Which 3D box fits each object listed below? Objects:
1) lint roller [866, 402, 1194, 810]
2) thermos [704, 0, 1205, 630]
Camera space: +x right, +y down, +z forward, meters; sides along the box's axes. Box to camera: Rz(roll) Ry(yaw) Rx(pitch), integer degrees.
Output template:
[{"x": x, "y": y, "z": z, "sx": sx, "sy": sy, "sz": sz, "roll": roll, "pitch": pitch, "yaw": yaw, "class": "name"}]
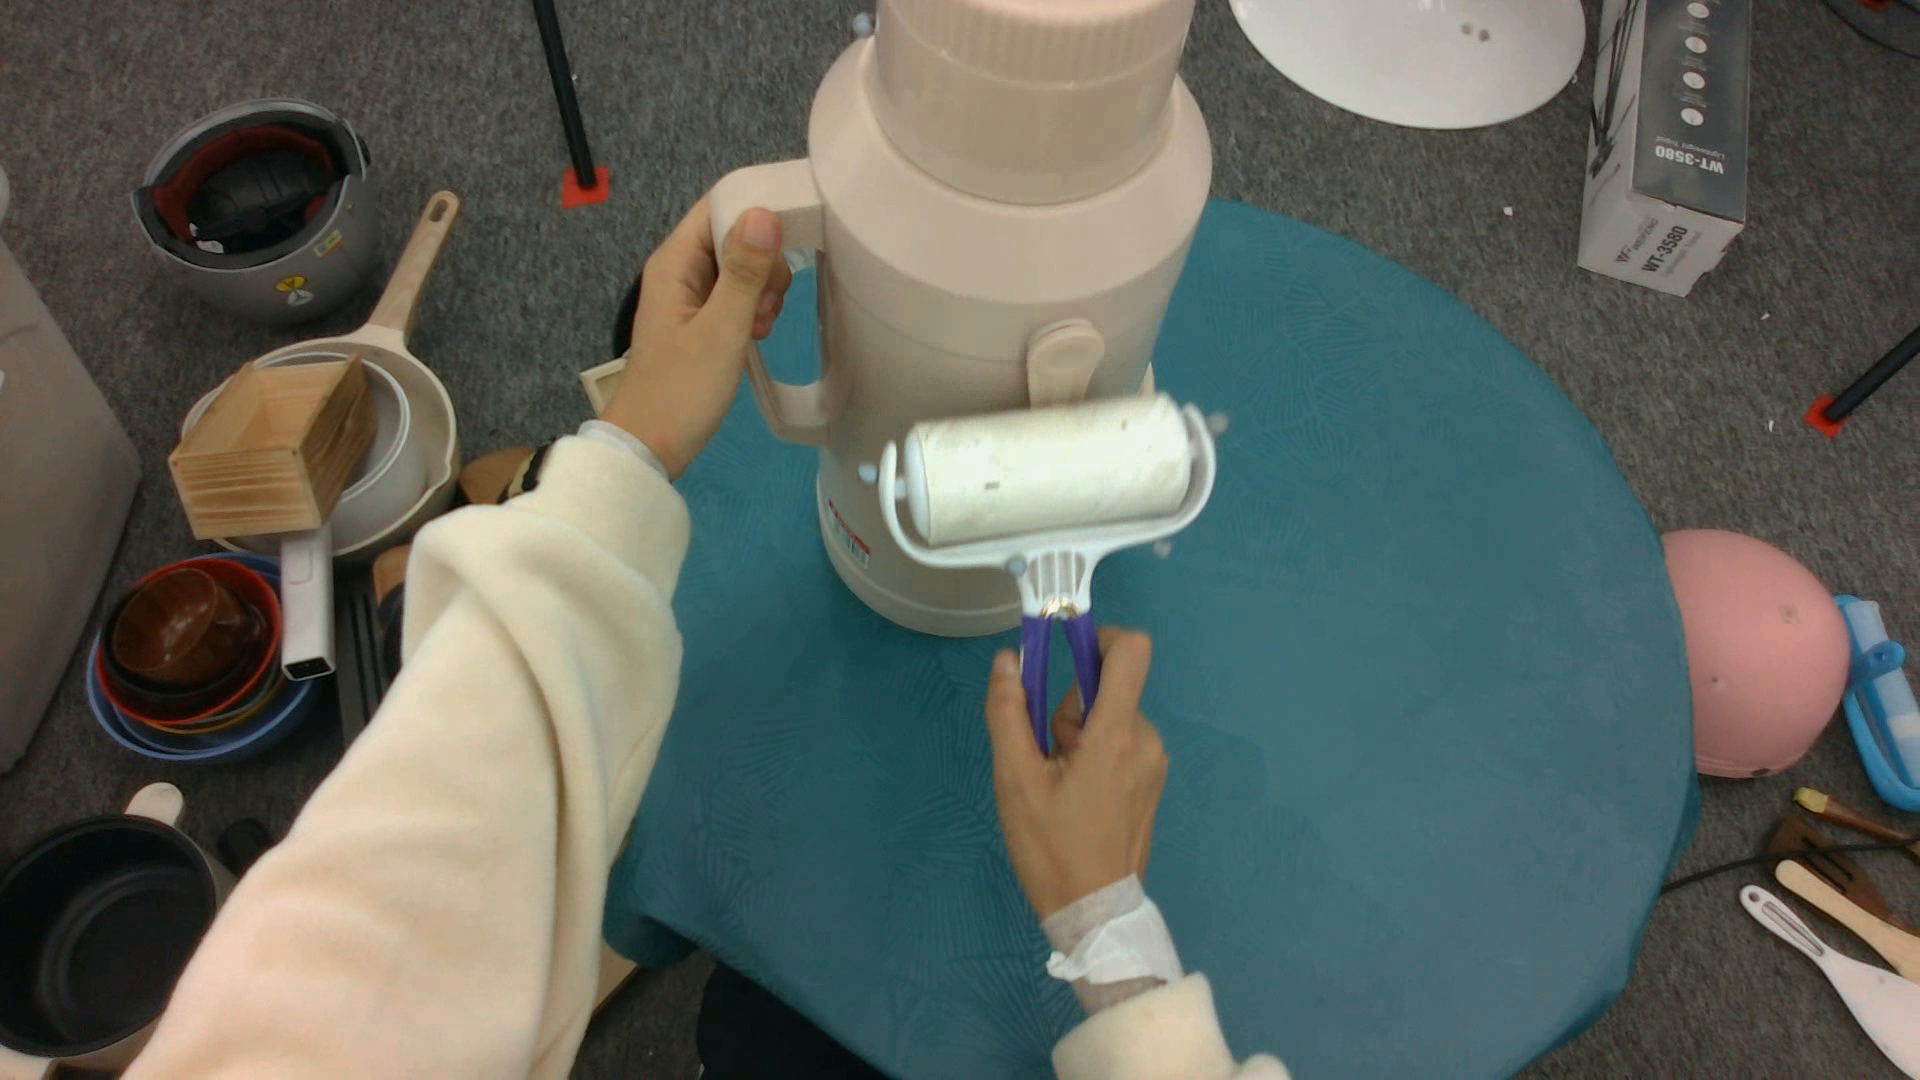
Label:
[{"x": 0.032, "y": 0.037, "z": 0.568, "sx": 0.133, "sy": 0.050, "sz": 0.180, "roll": -7, "pitch": 105, "yaw": -15, "class": "lint roller"}, {"x": -0.003, "y": -0.111, "z": 0.615, "sx": 0.207, "sy": 0.404, "sz": 0.176, "roll": -12, "pitch": 64, "yaw": -11, "class": "thermos"}]
